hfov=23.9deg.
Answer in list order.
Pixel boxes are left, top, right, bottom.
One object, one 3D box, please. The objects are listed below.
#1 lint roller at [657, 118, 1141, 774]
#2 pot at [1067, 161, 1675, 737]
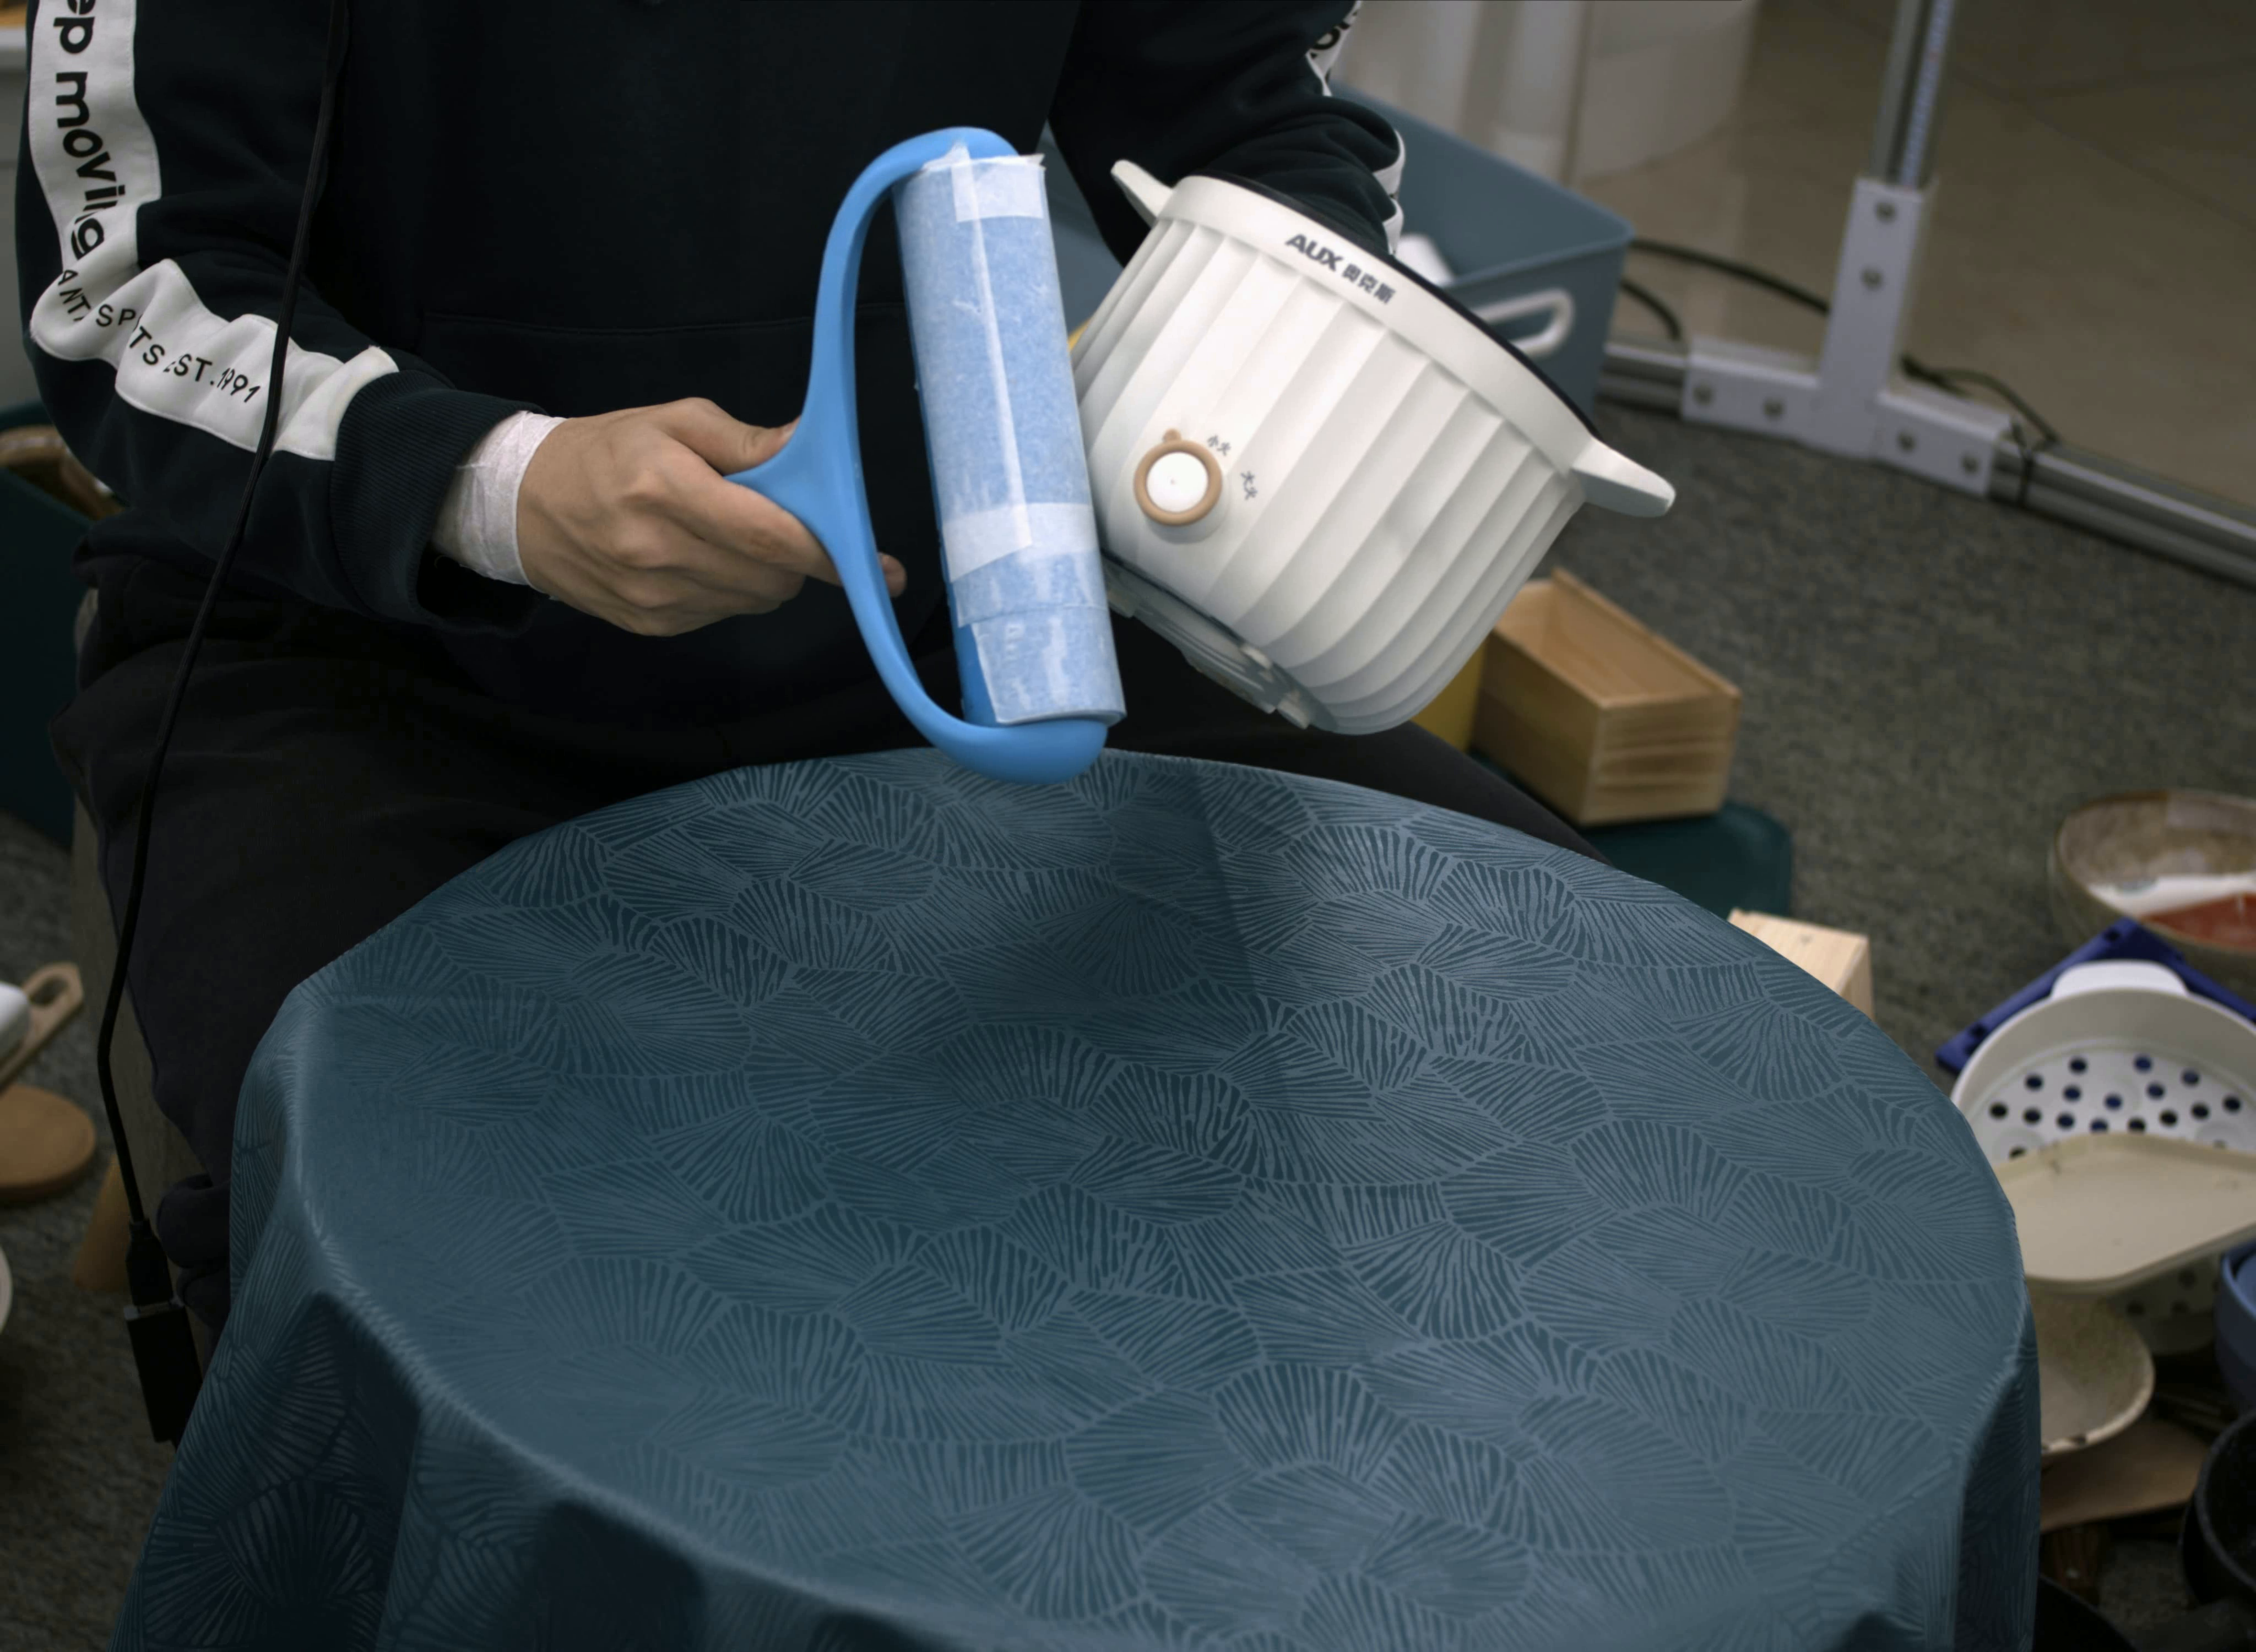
[{"bbox_3d":[-0.093,-0.114,1.823,0.180,0.230,0.067,-16,-10,20],"label":"lint roller"},{"bbox_3d":[0.058,-0.124,1.867,0.241,0.143,0.189,32,-9,17],"label":"pot"}]
